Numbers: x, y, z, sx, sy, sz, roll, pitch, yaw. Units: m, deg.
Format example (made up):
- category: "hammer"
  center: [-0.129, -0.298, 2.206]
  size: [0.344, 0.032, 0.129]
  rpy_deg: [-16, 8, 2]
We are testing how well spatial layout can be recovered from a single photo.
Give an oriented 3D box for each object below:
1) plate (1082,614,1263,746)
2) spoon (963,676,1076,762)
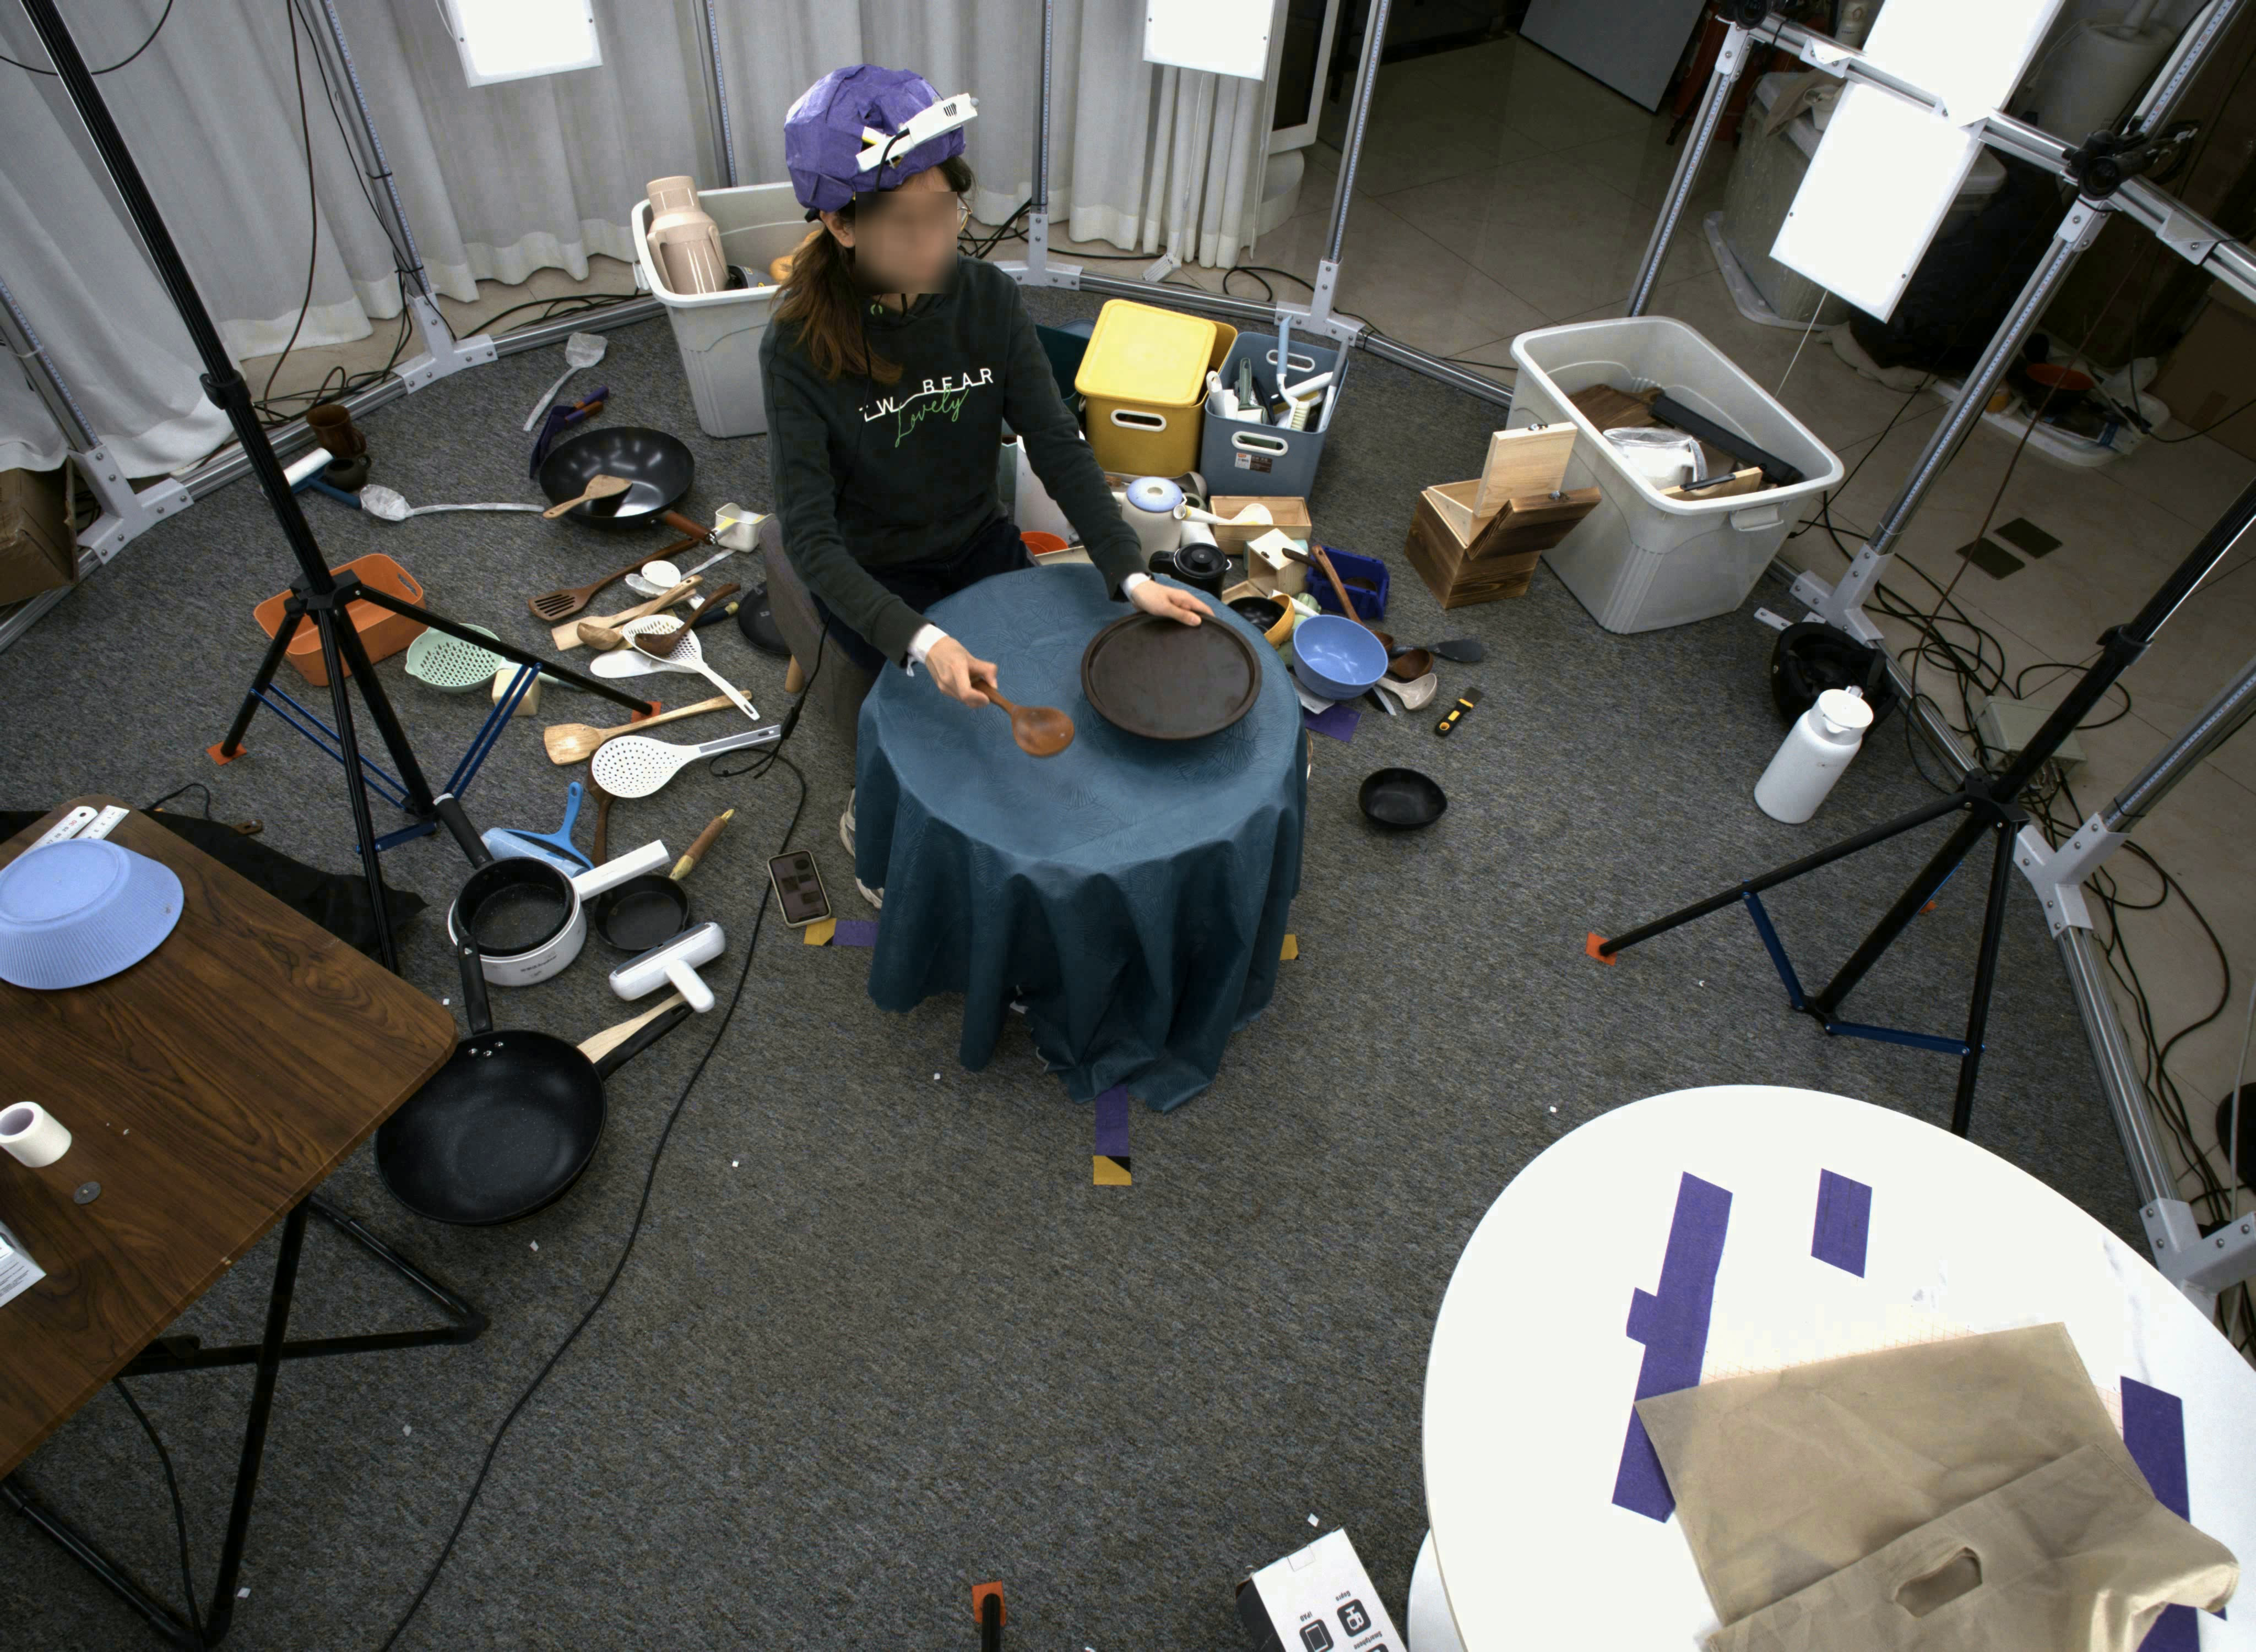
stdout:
- category: "plate"
  center: [0.062, -0.207, 1.800]
  size: [0.254, 0.028, 0.261]
  rpy_deg: [0, 51, -1]
- category: "spoon"
  center: [-0.147, -0.145, 1.685]
  size: [0.076, 0.017, 0.219]
  rpy_deg: [-42, 53, -15]
